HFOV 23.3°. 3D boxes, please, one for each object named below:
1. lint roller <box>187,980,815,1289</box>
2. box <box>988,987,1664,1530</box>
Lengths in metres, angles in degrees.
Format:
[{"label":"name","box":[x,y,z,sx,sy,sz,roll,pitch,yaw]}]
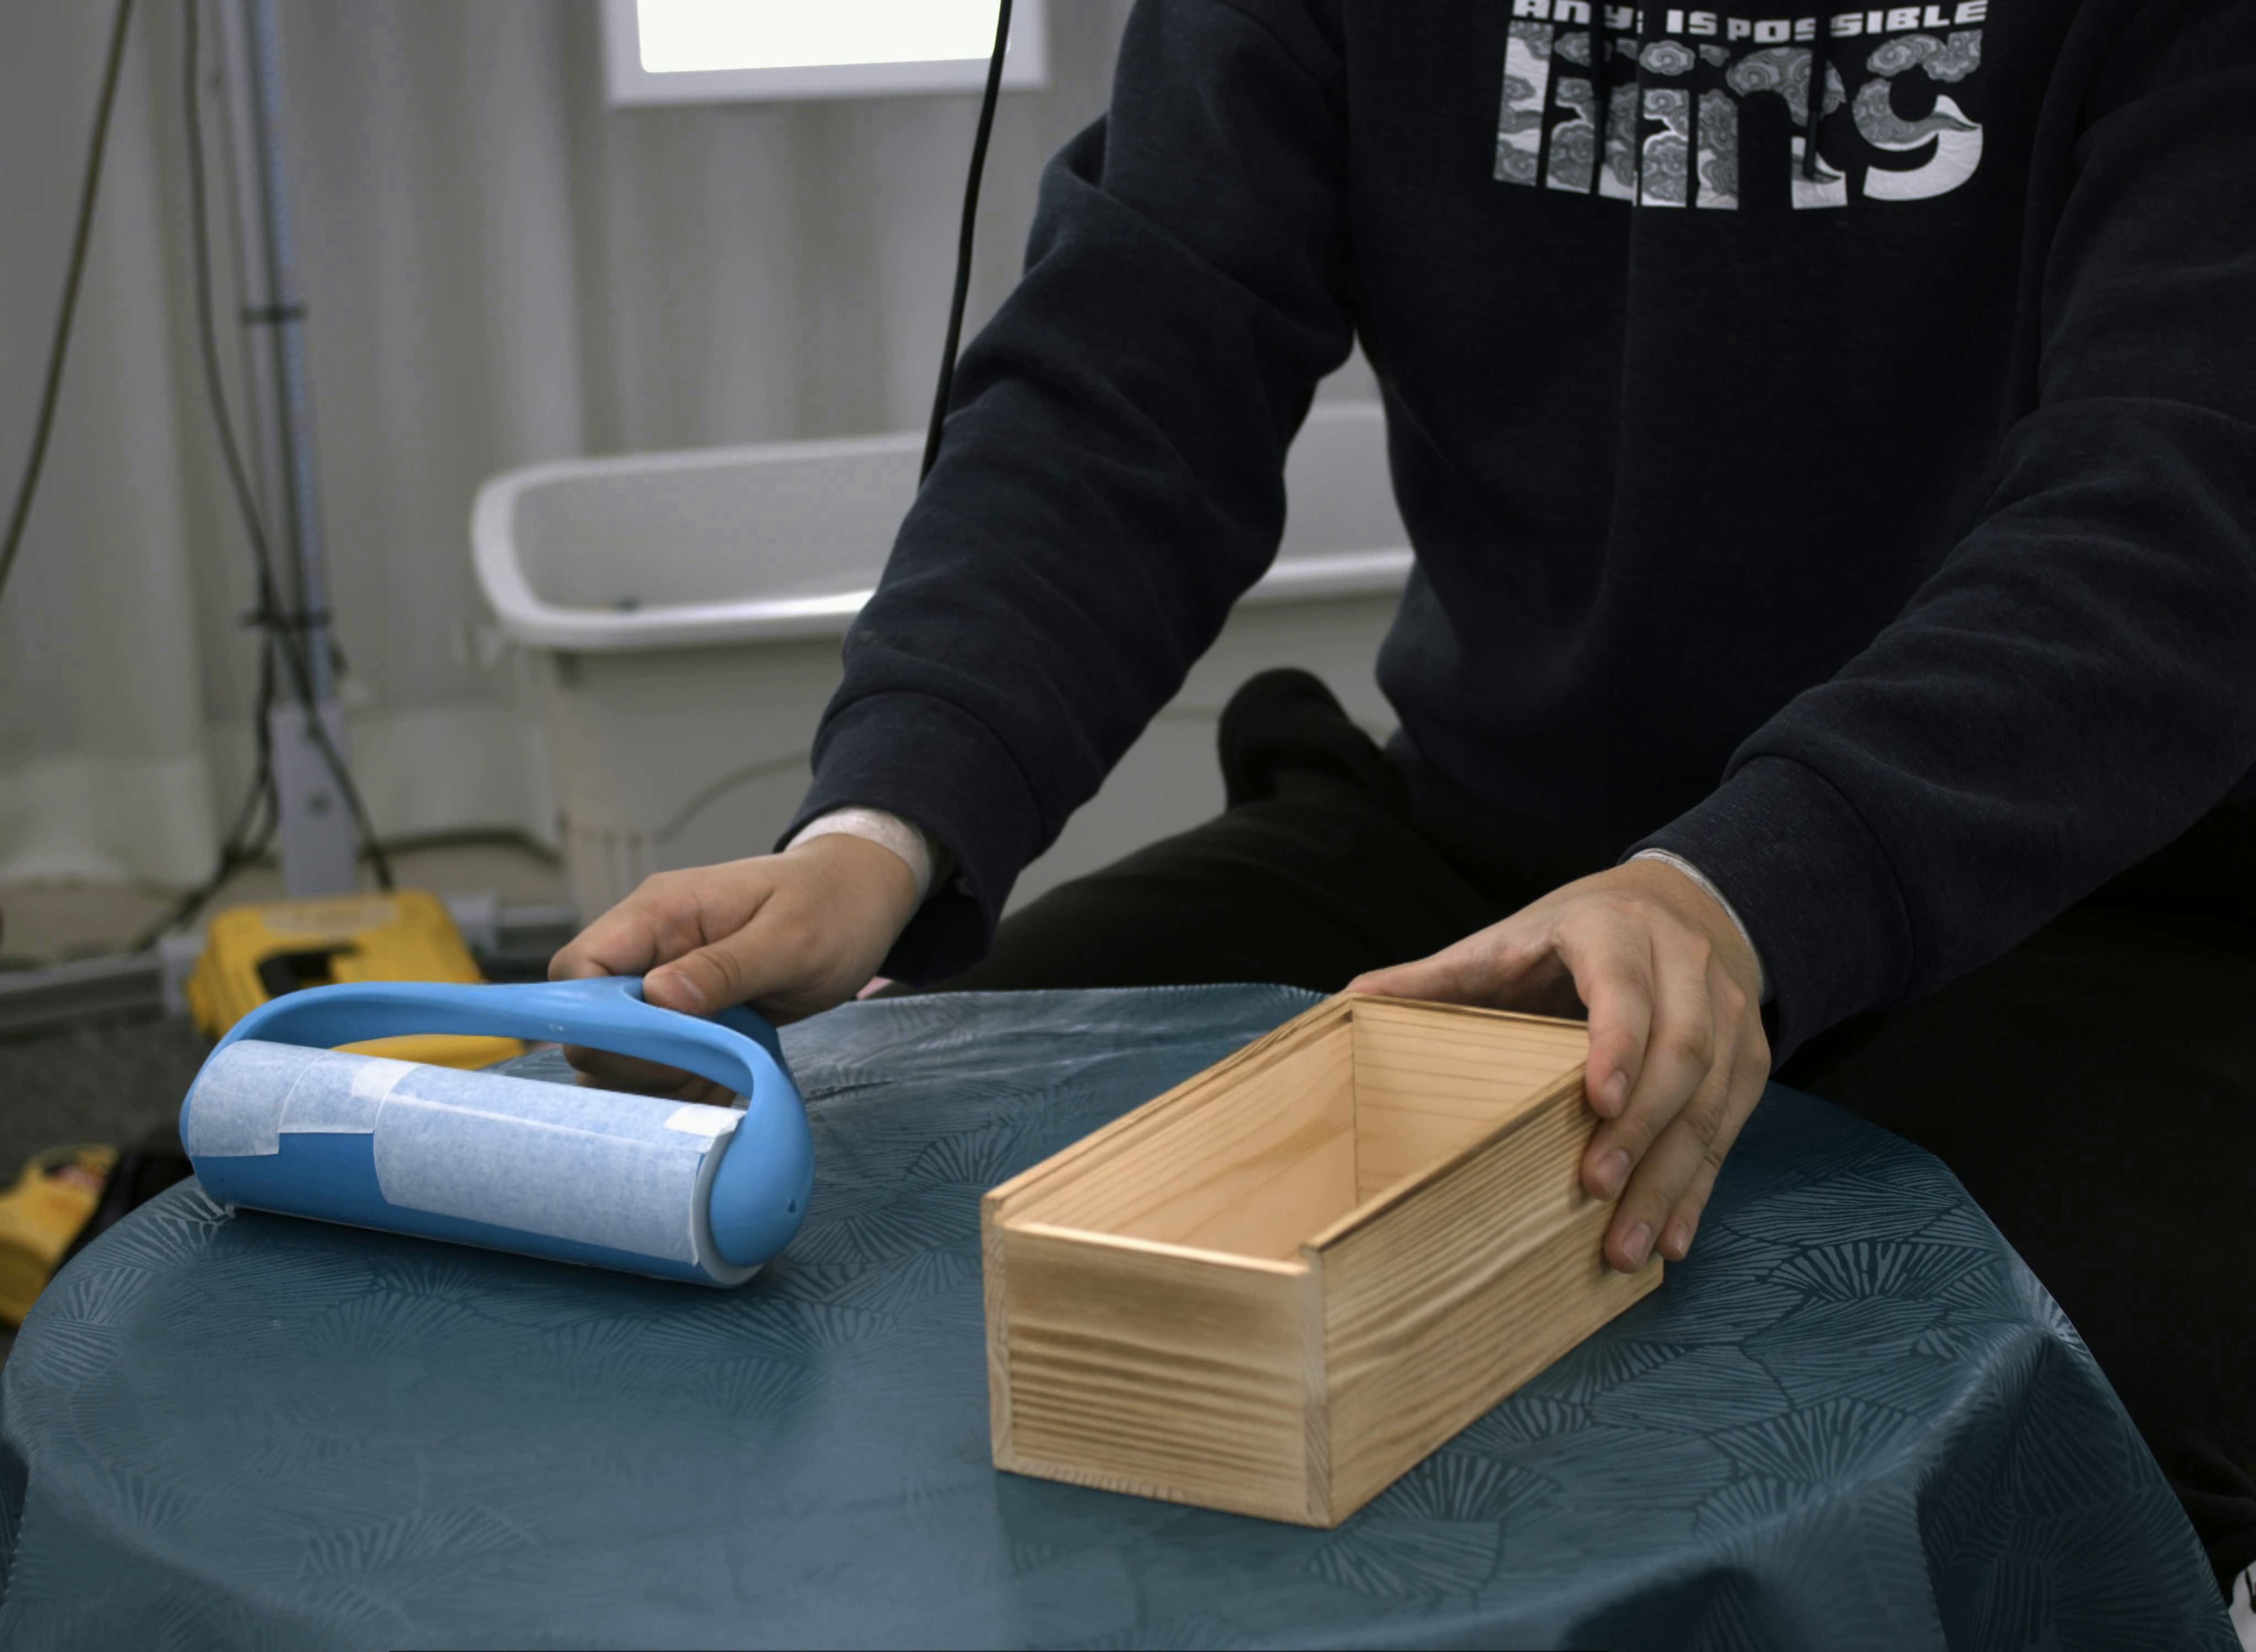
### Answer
[{"label":"lint roller","box":[-0.169,0.081,1.736,0.229,0.067,0.181,3,24,29]},{"label":"box","box":[0.060,0.117,1.543,0.108,0.080,0.211,6,17,29]}]
